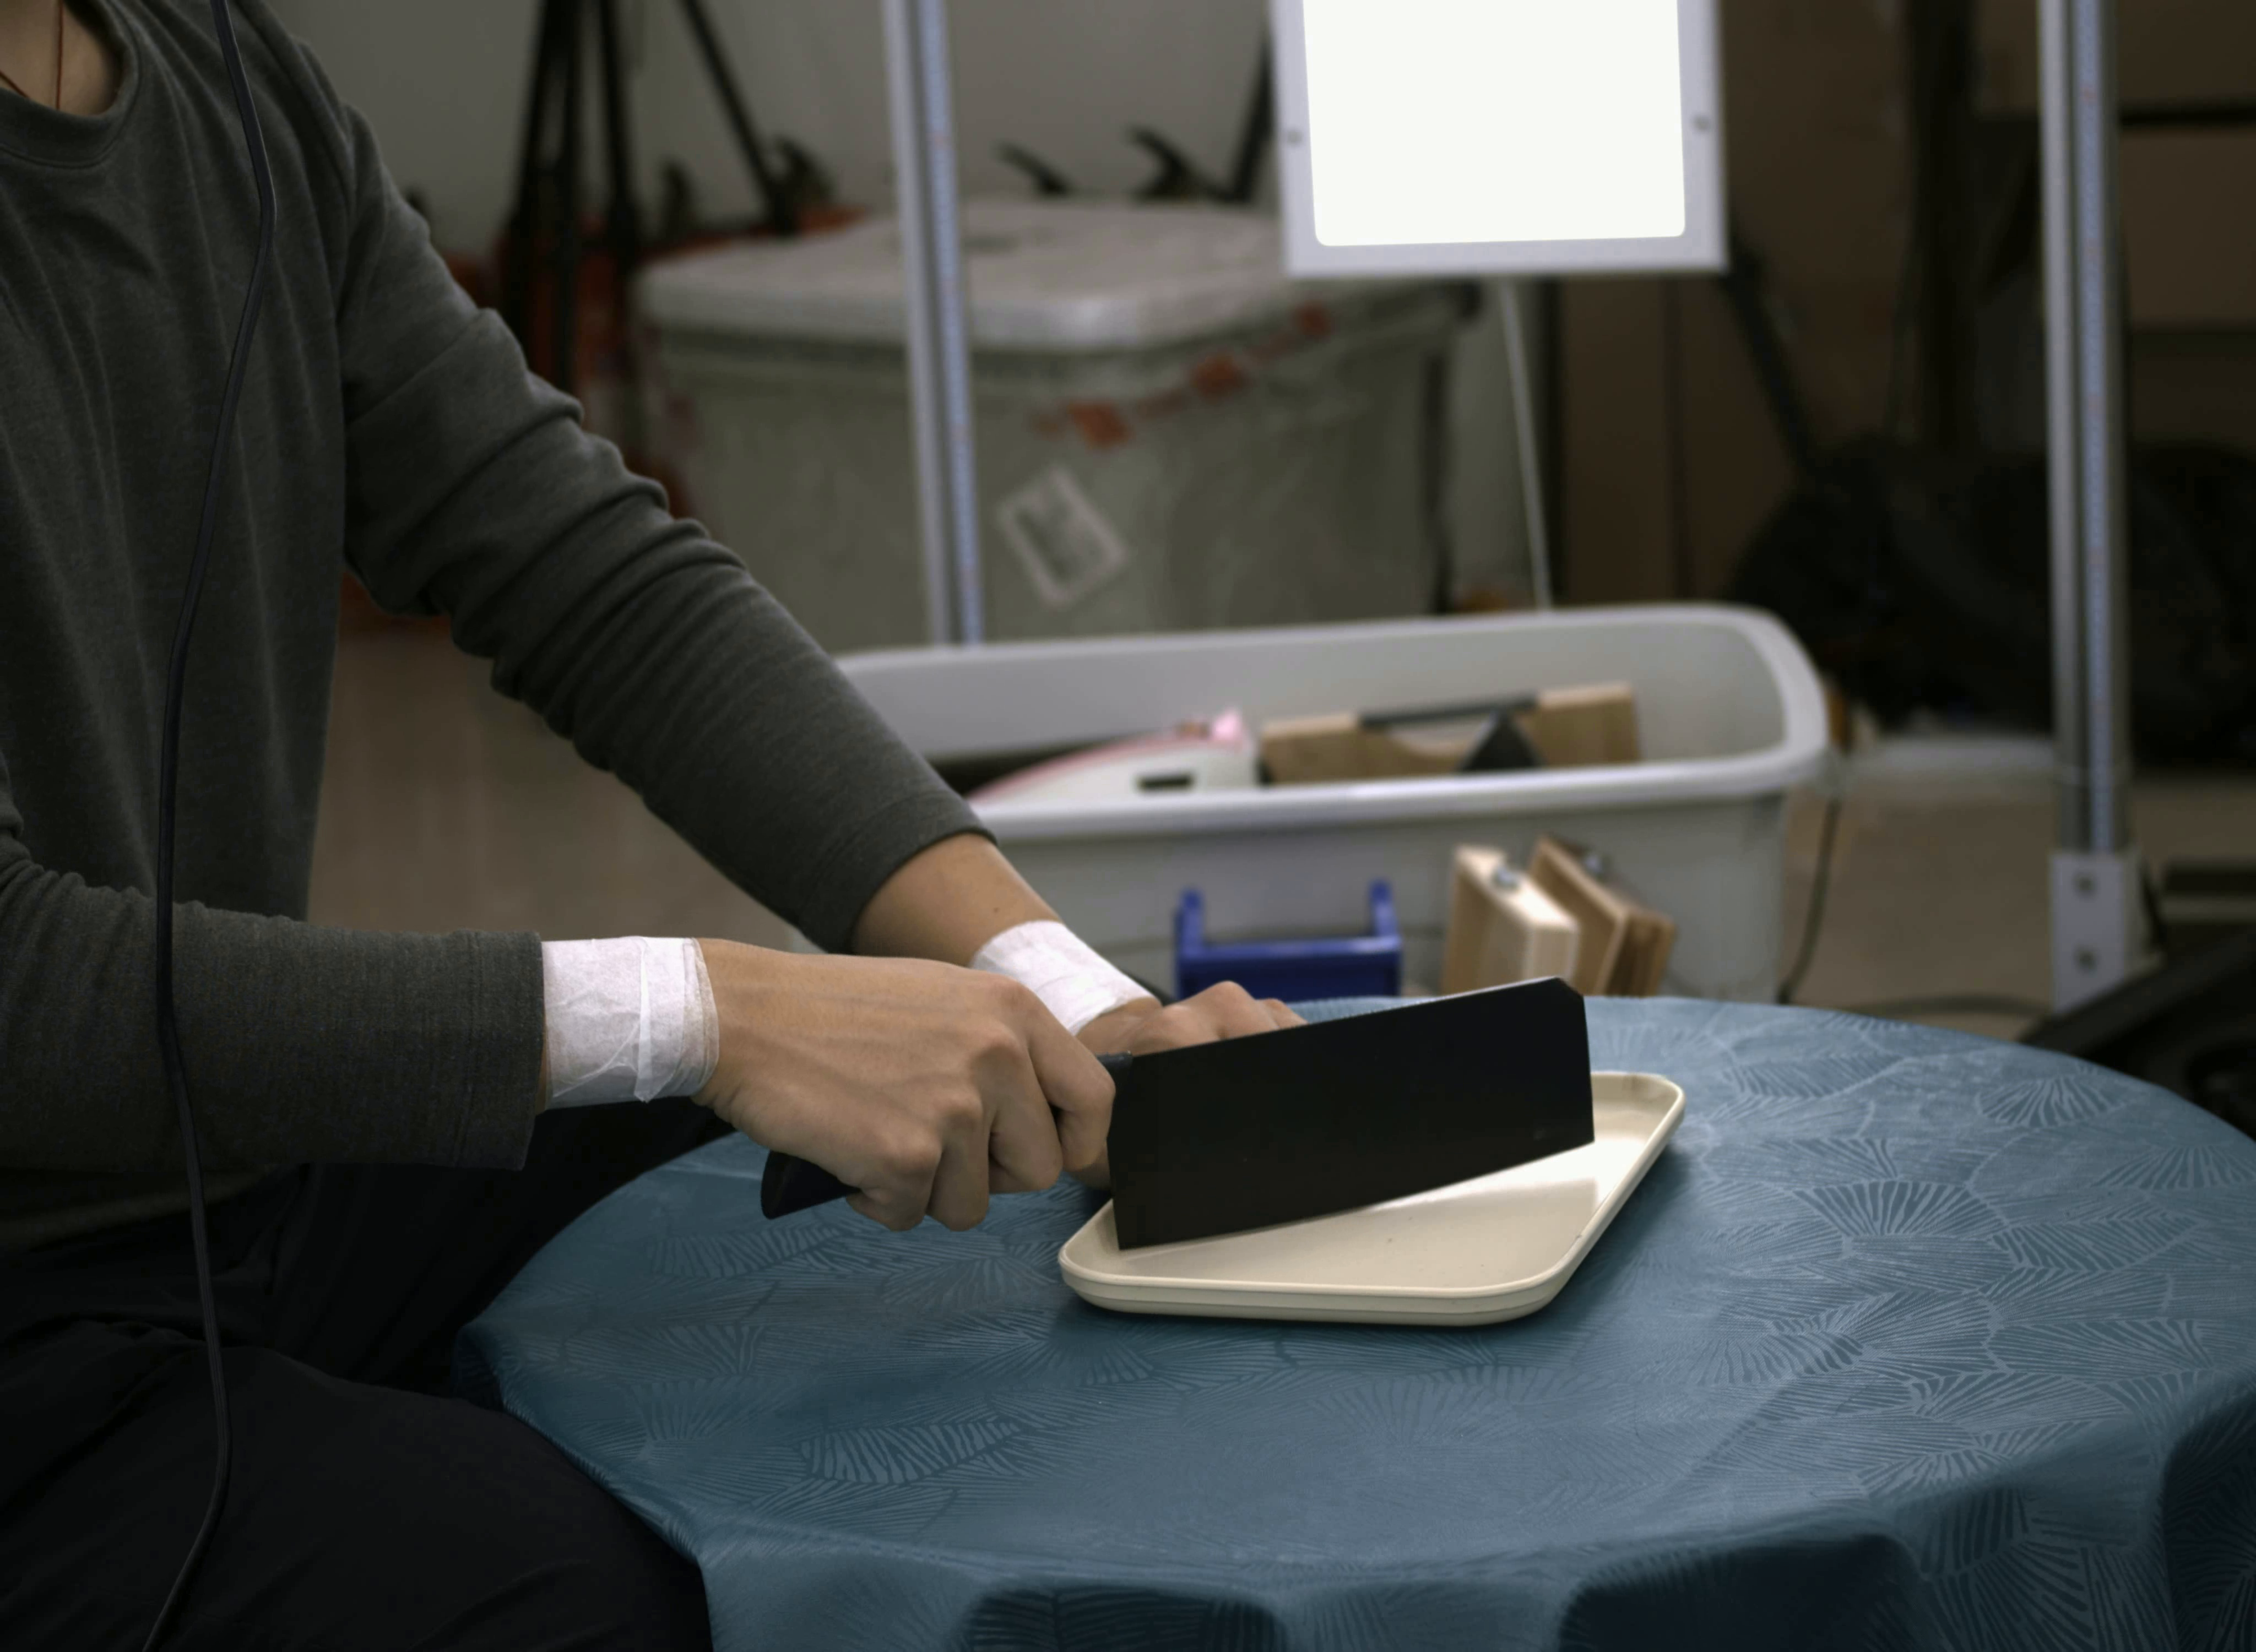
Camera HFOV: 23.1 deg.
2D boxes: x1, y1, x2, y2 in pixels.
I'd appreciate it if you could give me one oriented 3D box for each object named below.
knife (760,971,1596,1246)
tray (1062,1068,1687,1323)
[{"bbox_3d":[0.022,0.100,1.823,0.297,0.081,0.021,-5,9,-20],"label":"knife"},{"bbox_3d":[0.087,0.123,1.848,0.173,0.017,0.235,-1,14,20],"label":"tray"}]
